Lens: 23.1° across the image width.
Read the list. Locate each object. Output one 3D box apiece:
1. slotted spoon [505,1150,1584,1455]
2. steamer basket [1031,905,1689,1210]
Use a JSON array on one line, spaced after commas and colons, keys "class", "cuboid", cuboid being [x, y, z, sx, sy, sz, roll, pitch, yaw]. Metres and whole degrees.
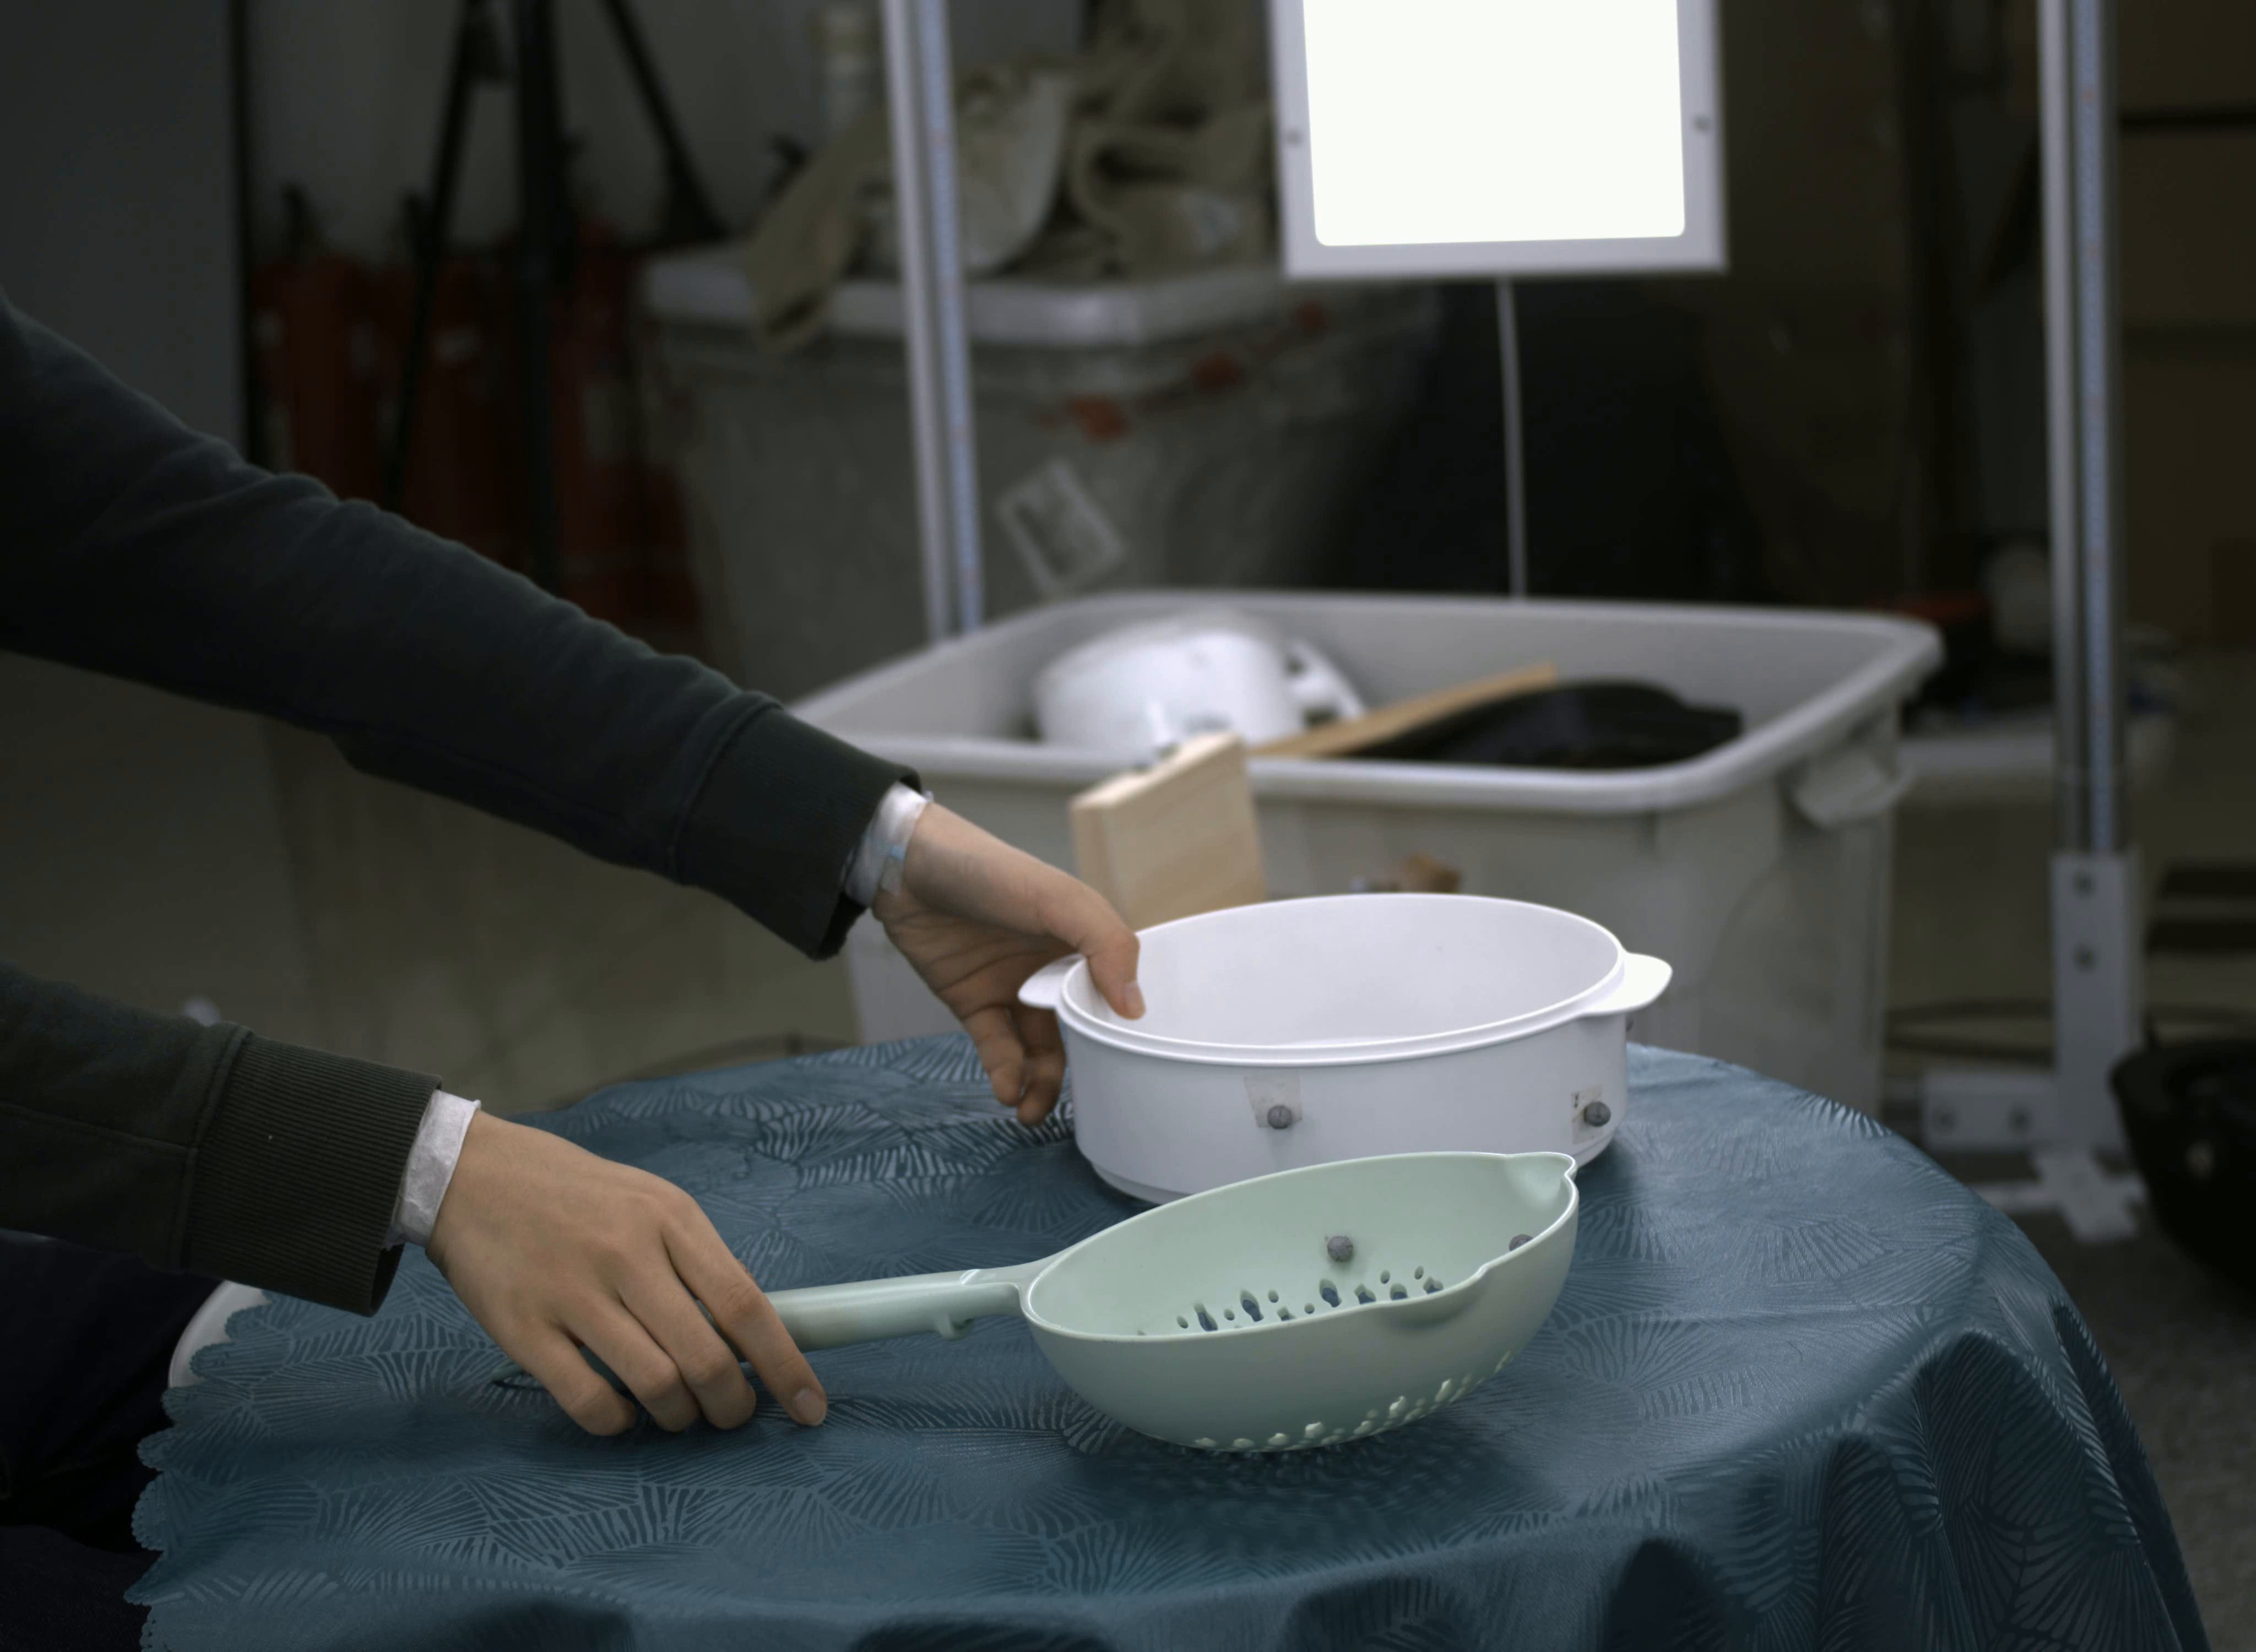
[{"class": "slotted spoon", "cuboid": [-0.034, 0.147, 1.687, 0.364, 0.075, 0.166, 1, 14, 23]}, {"class": "steamer basket", "cuboid": [0.082, 0.083, 1.913, 0.233, 0.069, 0.198, -1, 13, 18]}]
